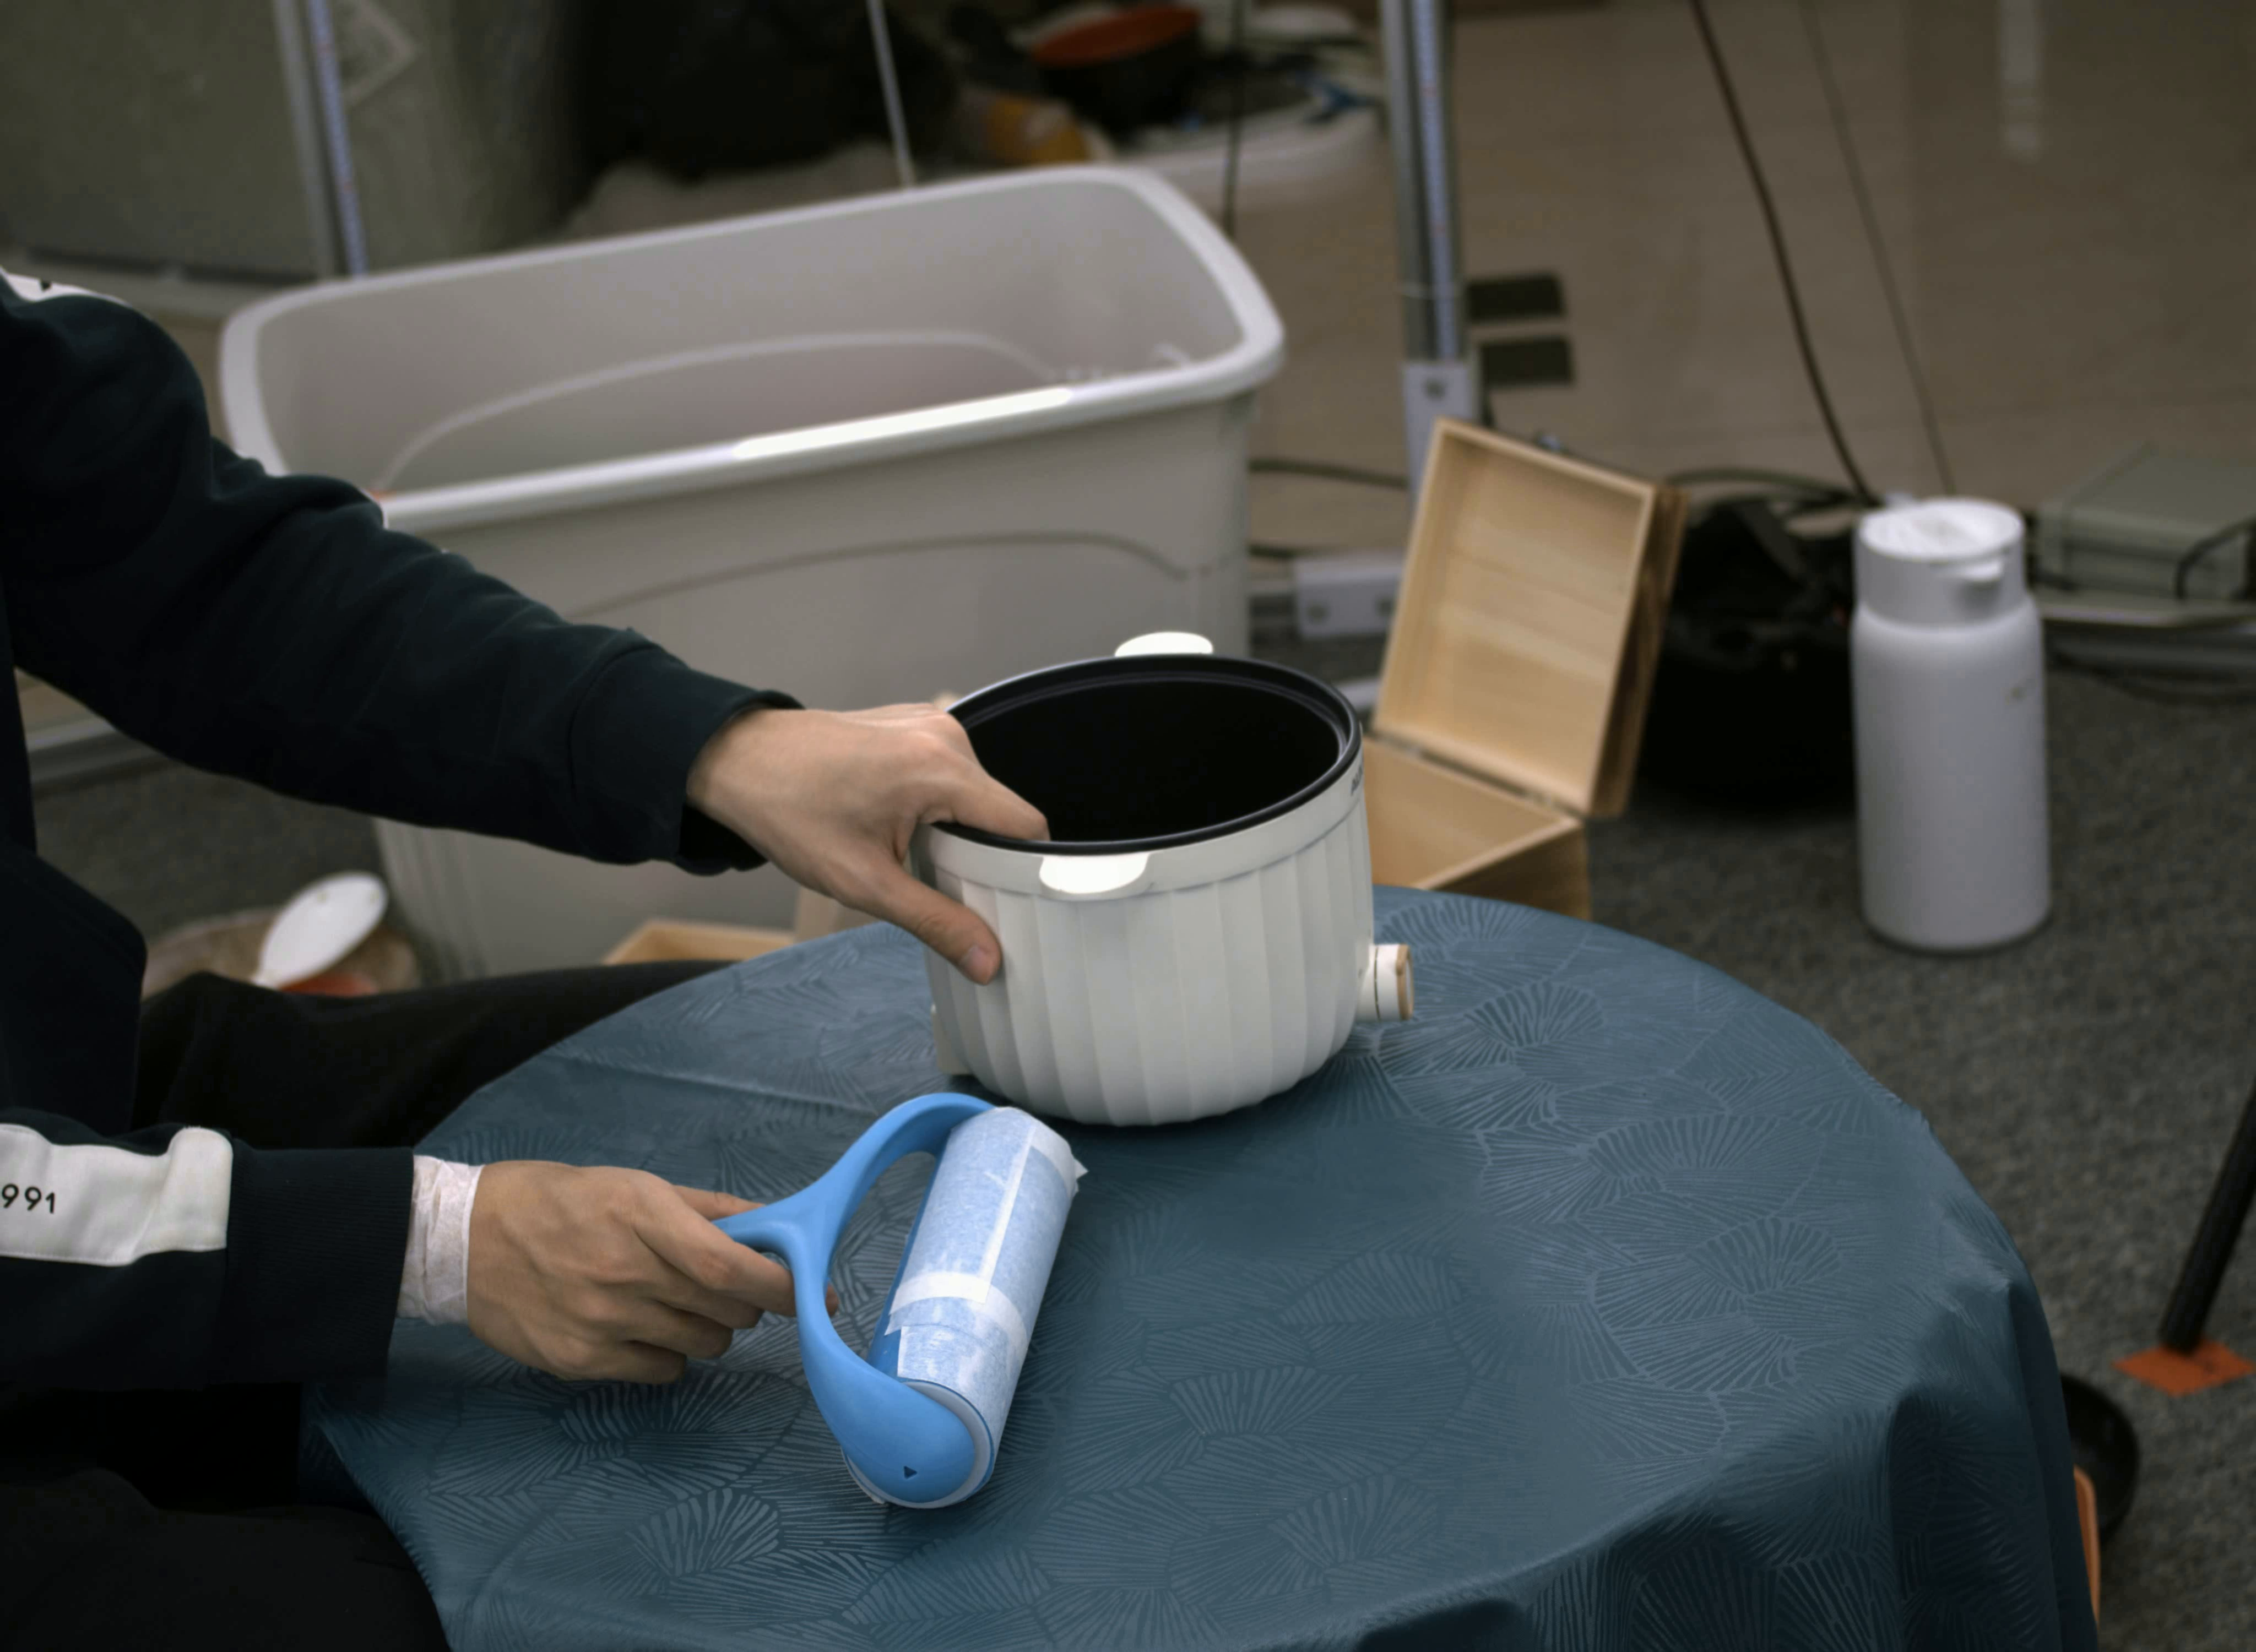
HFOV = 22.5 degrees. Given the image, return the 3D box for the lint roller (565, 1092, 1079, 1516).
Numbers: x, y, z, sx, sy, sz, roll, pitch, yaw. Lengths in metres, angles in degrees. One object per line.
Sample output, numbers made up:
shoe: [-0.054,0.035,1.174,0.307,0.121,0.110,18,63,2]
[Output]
lint roller: [-0.114,0.168,2.032,0.180,0.069,0.225,2,29,4]

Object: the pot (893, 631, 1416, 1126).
pot: [0.012,0.028,2.213,0.190,0.145,0.237,-5,26,10]
